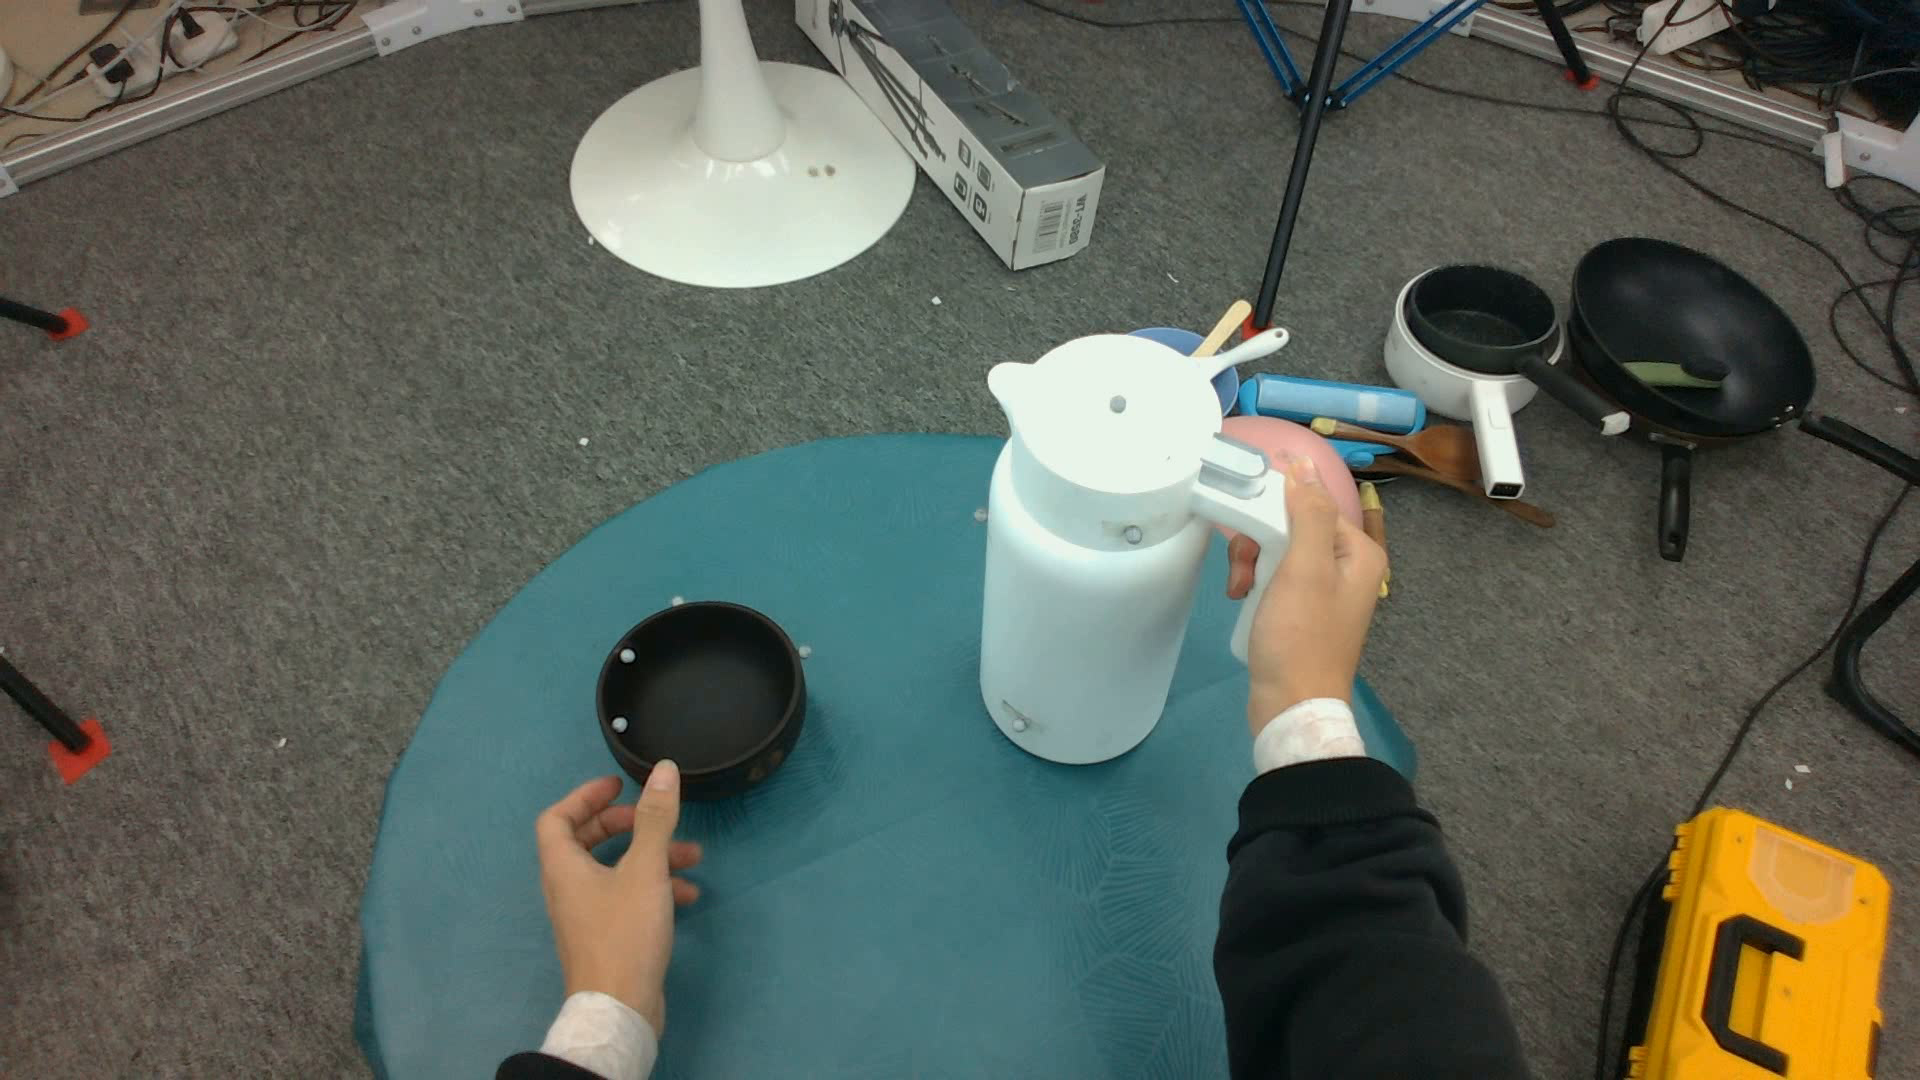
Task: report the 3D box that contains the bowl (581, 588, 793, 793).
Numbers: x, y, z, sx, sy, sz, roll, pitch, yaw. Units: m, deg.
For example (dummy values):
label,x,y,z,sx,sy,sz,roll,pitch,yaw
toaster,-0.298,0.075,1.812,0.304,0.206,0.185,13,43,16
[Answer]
label,x,y,z,sx,sy,sz,roll,pitch,yaw
bowl,-0.156,0.094,0.801,0.118,0.069,0.118,1,55,-2

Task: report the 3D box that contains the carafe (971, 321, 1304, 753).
label,x,y,z,sx,sy,sz,roll,pitch,yaw
carafe,0.083,0.013,0.751,0.173,0.267,0.124,22,55,14
